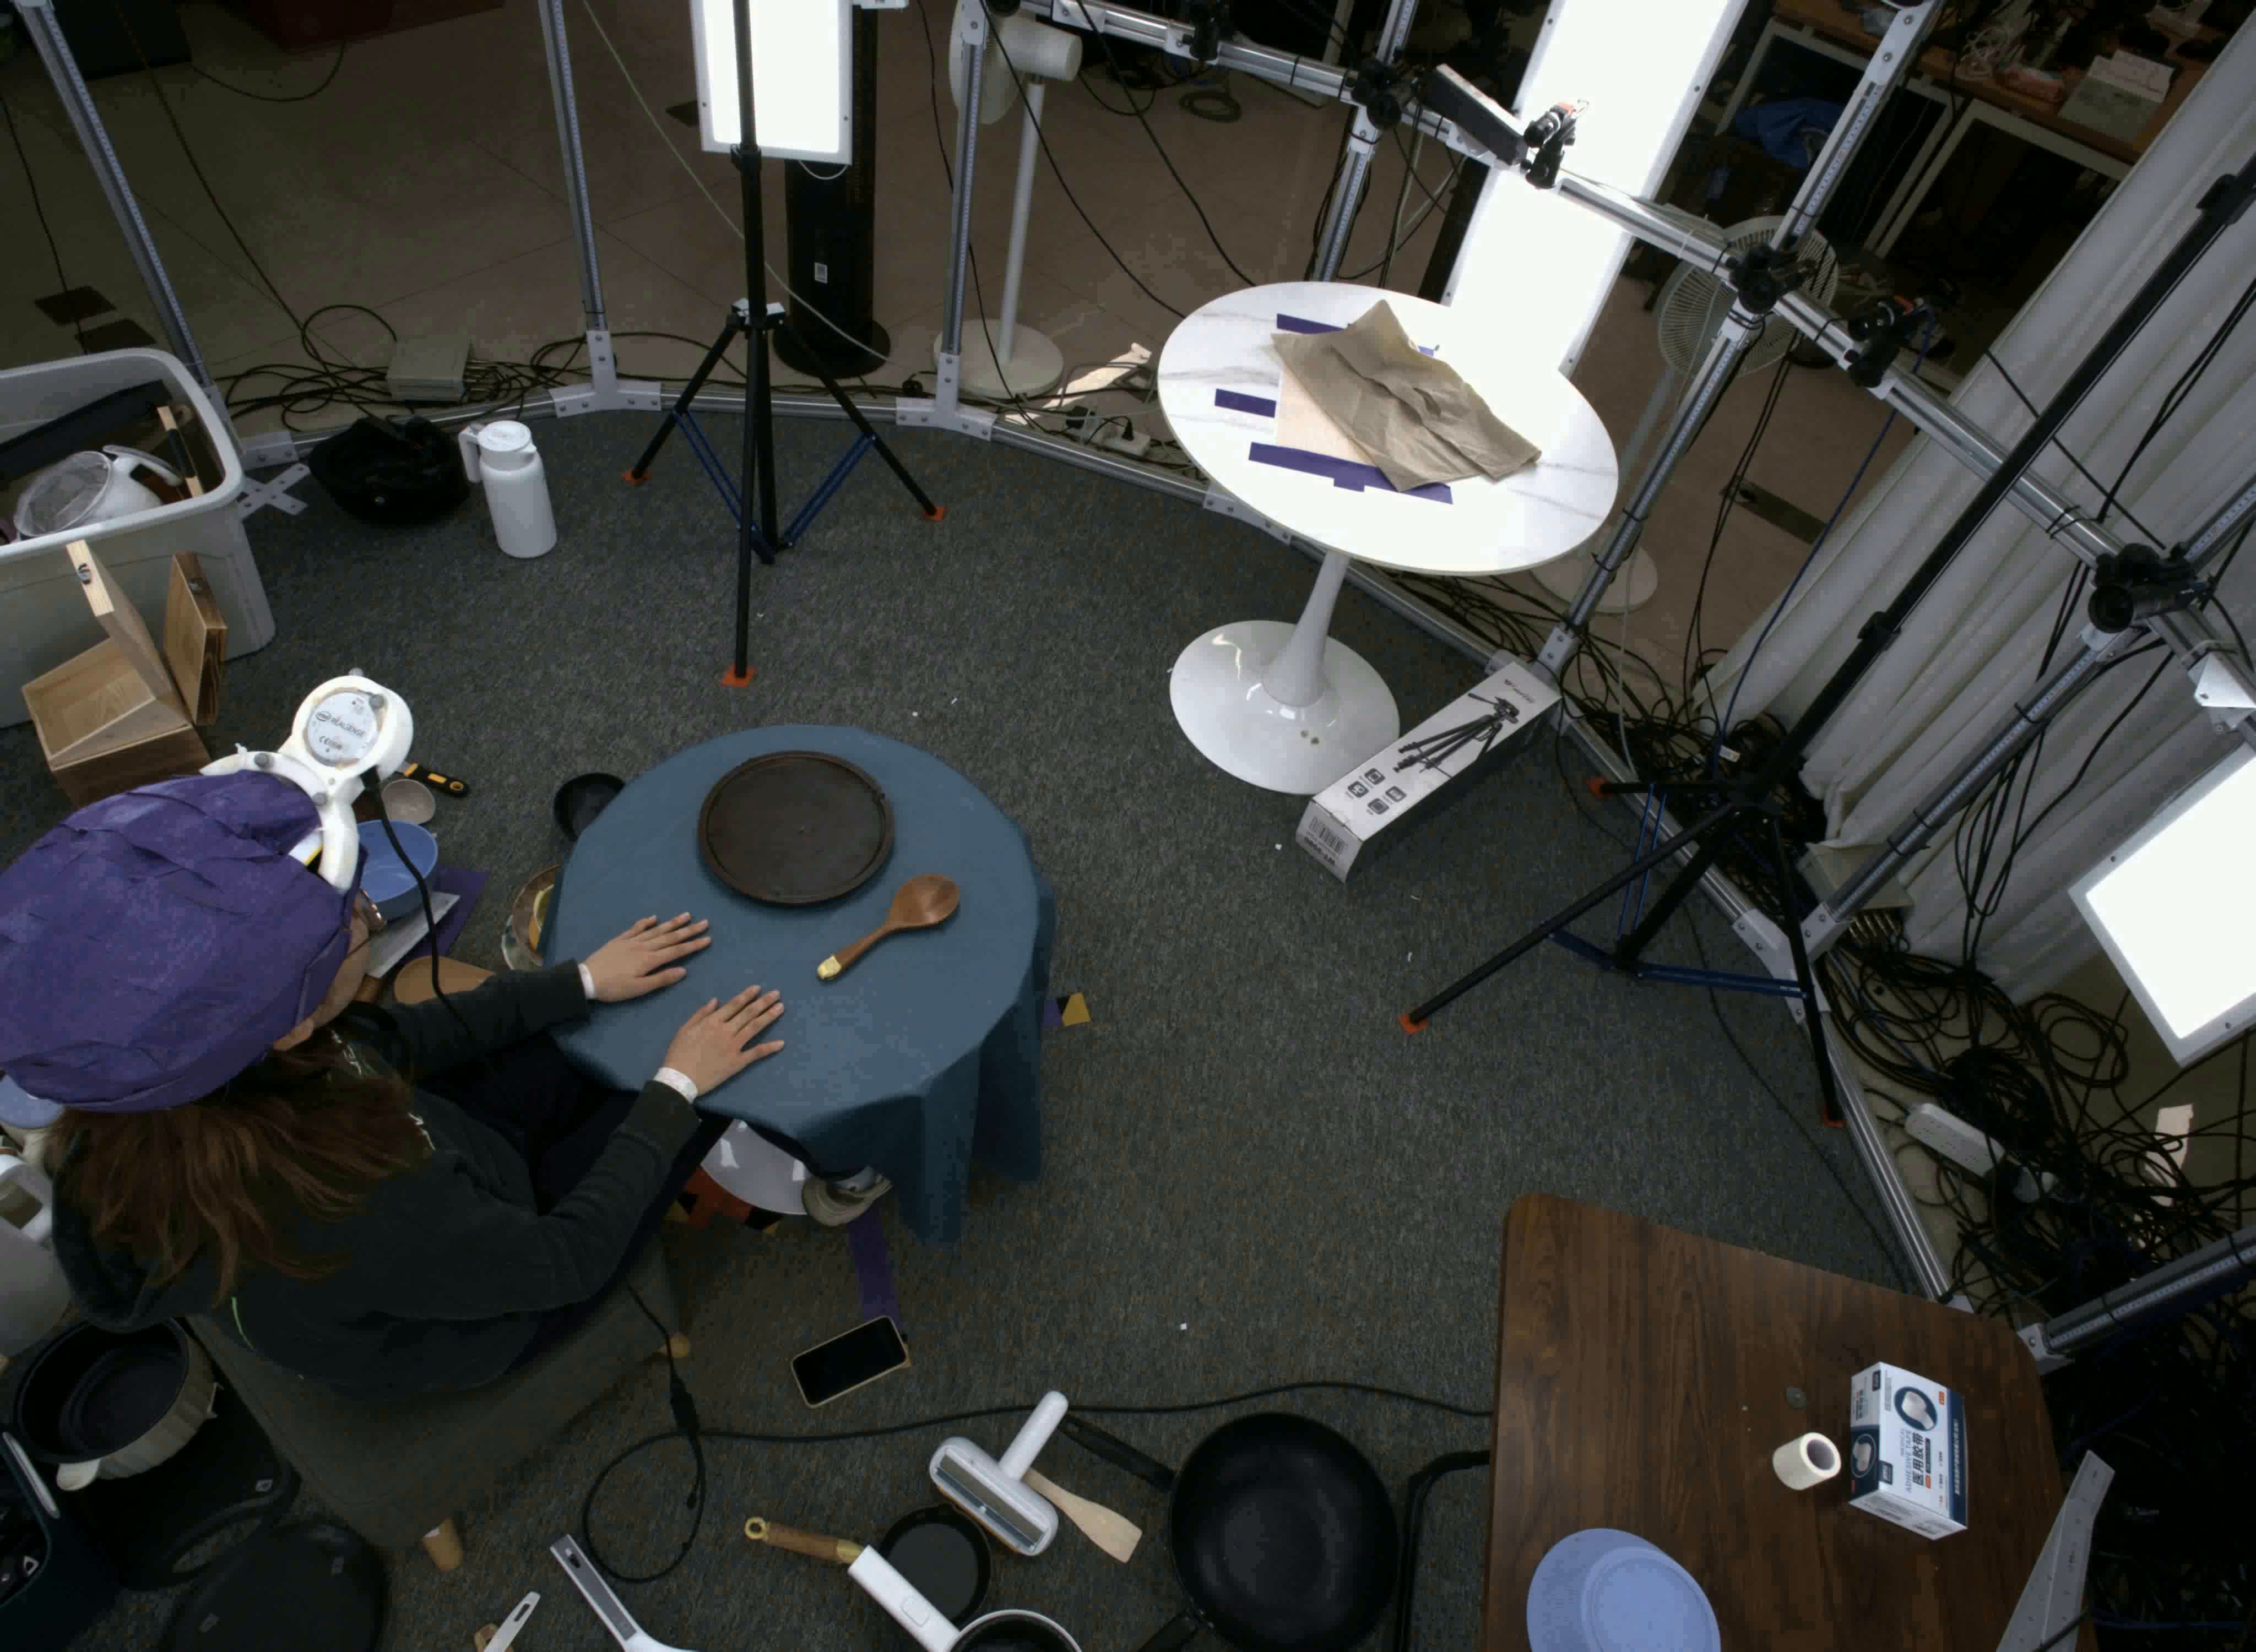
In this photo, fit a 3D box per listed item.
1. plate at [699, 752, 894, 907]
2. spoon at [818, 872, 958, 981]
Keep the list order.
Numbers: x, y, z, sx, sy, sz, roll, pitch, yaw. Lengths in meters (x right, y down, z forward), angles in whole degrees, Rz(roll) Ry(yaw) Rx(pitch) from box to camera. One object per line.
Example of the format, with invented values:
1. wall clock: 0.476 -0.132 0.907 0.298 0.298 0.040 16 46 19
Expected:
1. plate: -0.436 0.002 1.711 0.254 0.029 0.250 8 51 -8
2. spoon: -0.305 0.127 1.654 0.074 0.017 0.216 42 55 17
